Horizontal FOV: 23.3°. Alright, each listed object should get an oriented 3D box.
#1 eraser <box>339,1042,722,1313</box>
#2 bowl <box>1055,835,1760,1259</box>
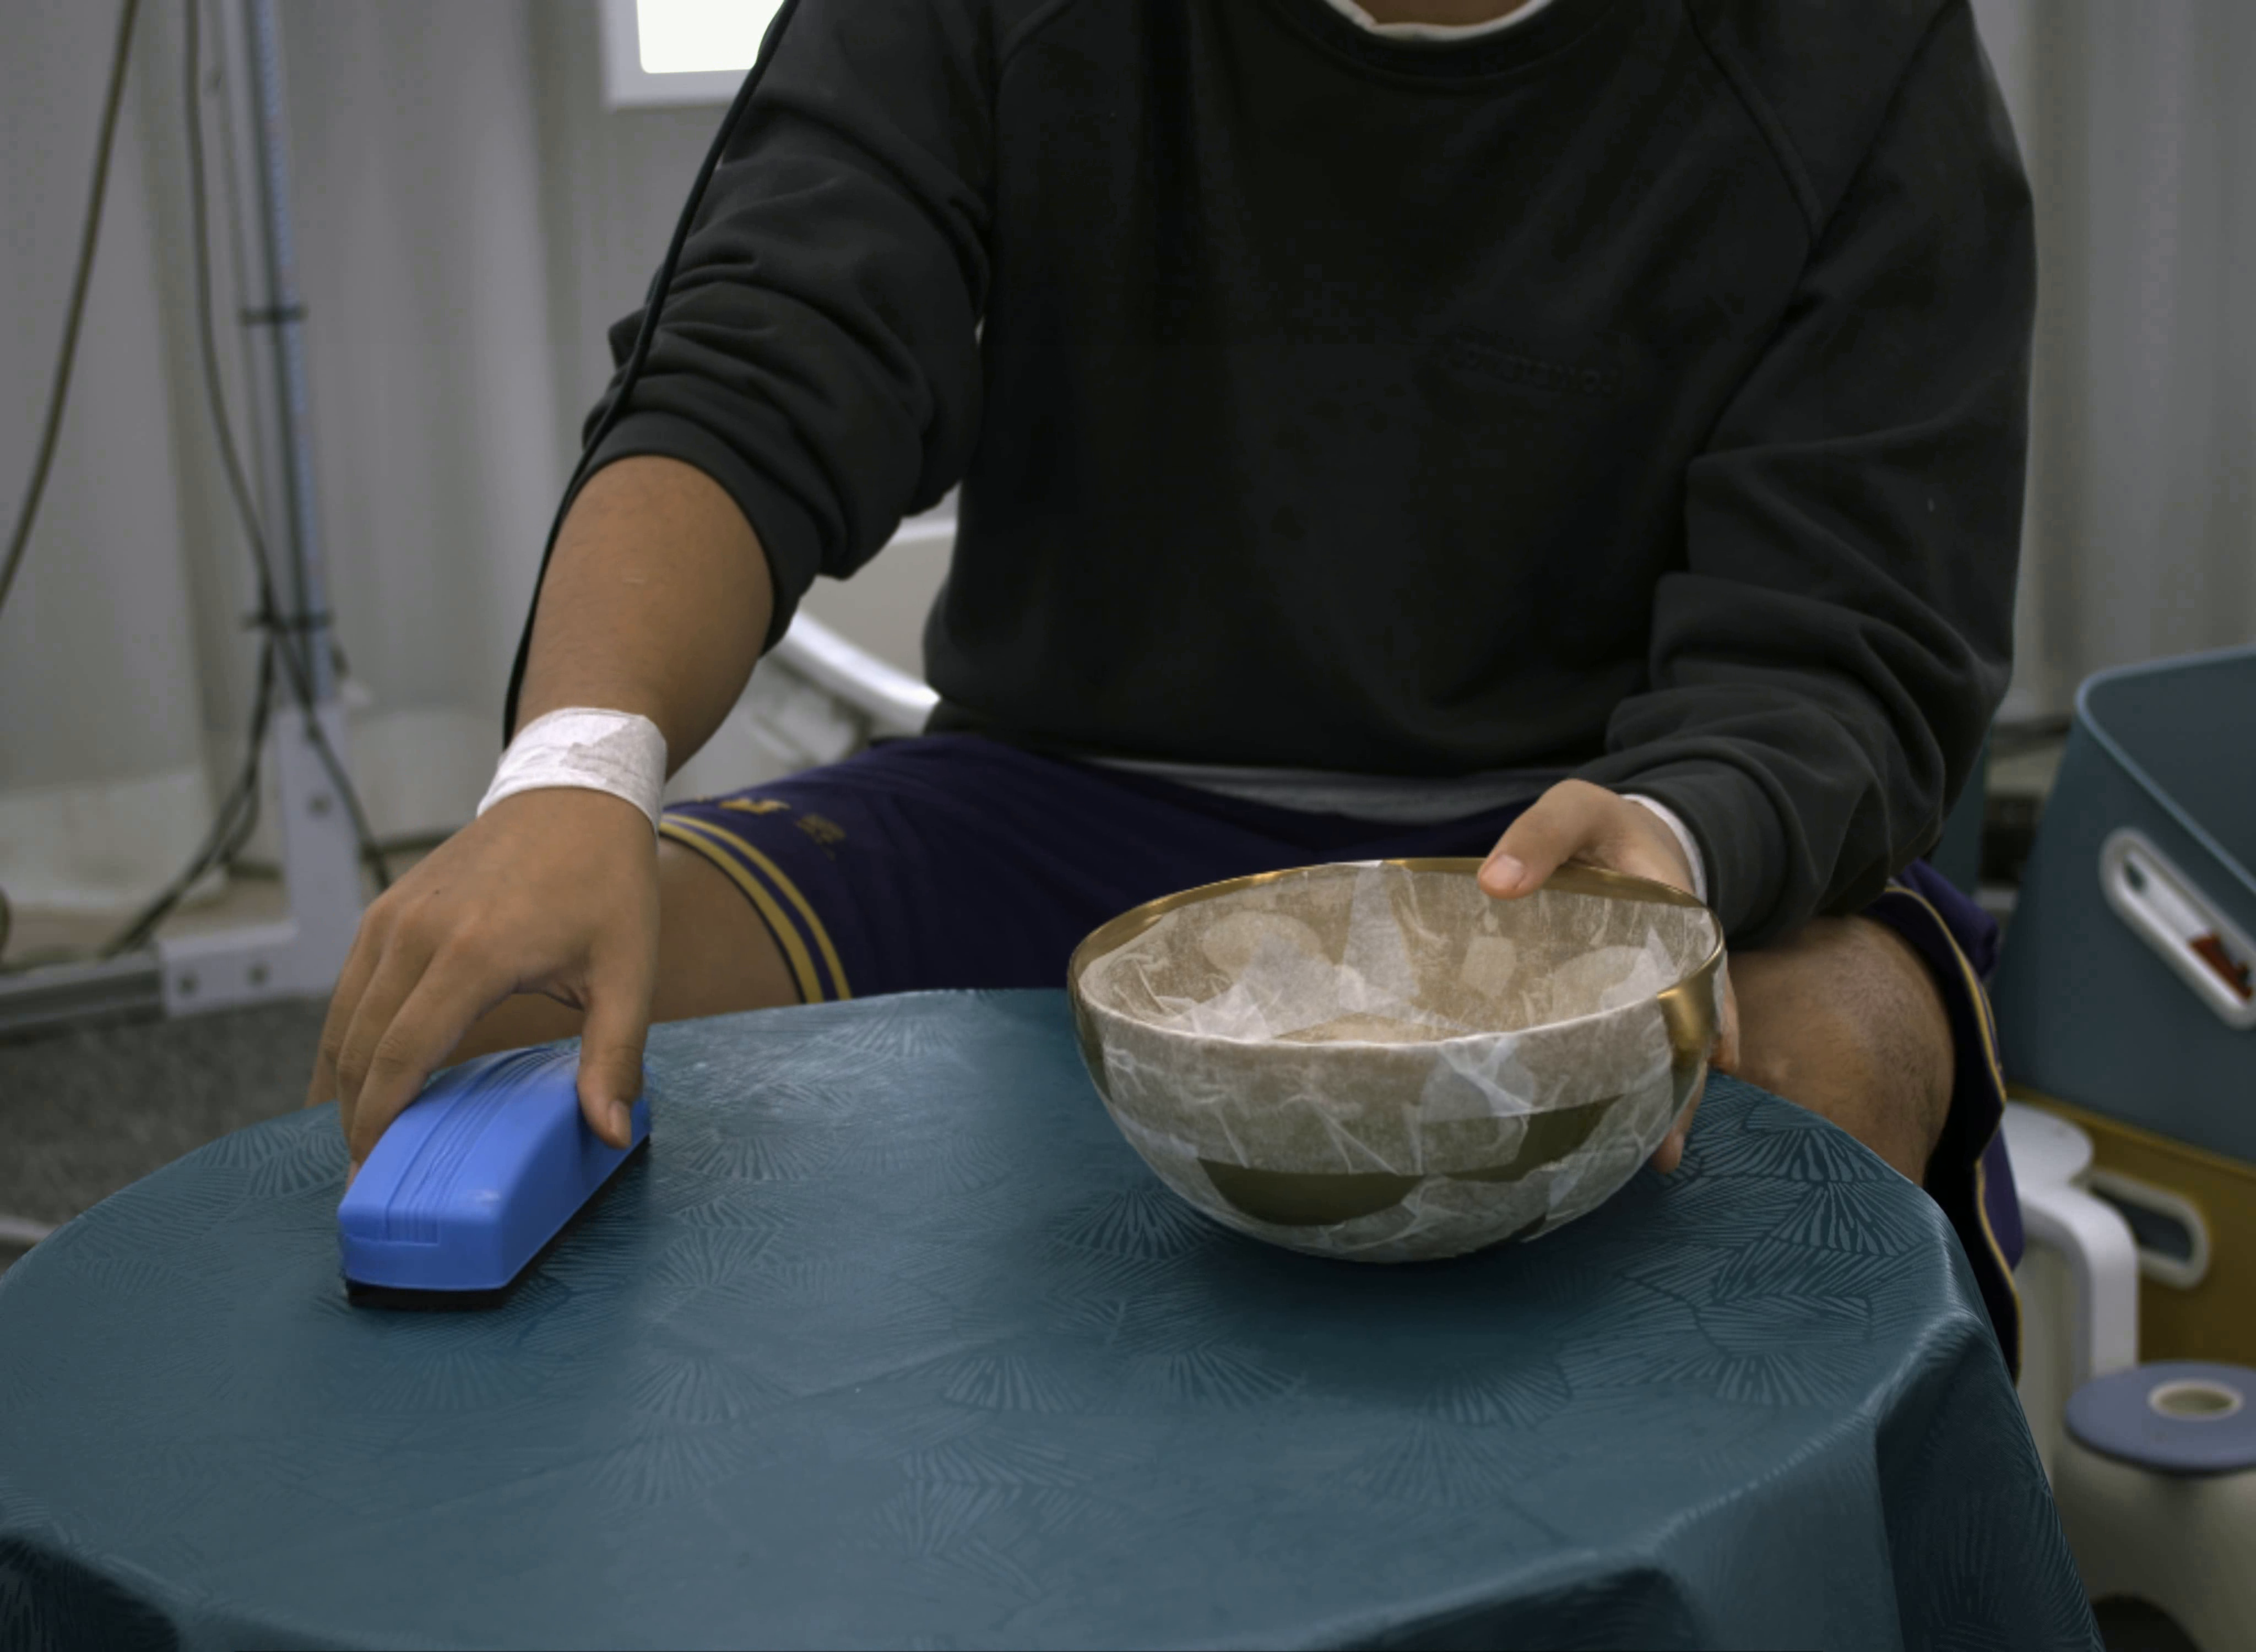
[{"bbox_3d":[-0.185,0.102,1.700,0.054,0.047,0.163,-3,15,25],"label":"eraser"},{"bbox_3d":[0.086,0.076,1.660,0.214,0.094,0.216,-5,15,1],"label":"bowl"}]
